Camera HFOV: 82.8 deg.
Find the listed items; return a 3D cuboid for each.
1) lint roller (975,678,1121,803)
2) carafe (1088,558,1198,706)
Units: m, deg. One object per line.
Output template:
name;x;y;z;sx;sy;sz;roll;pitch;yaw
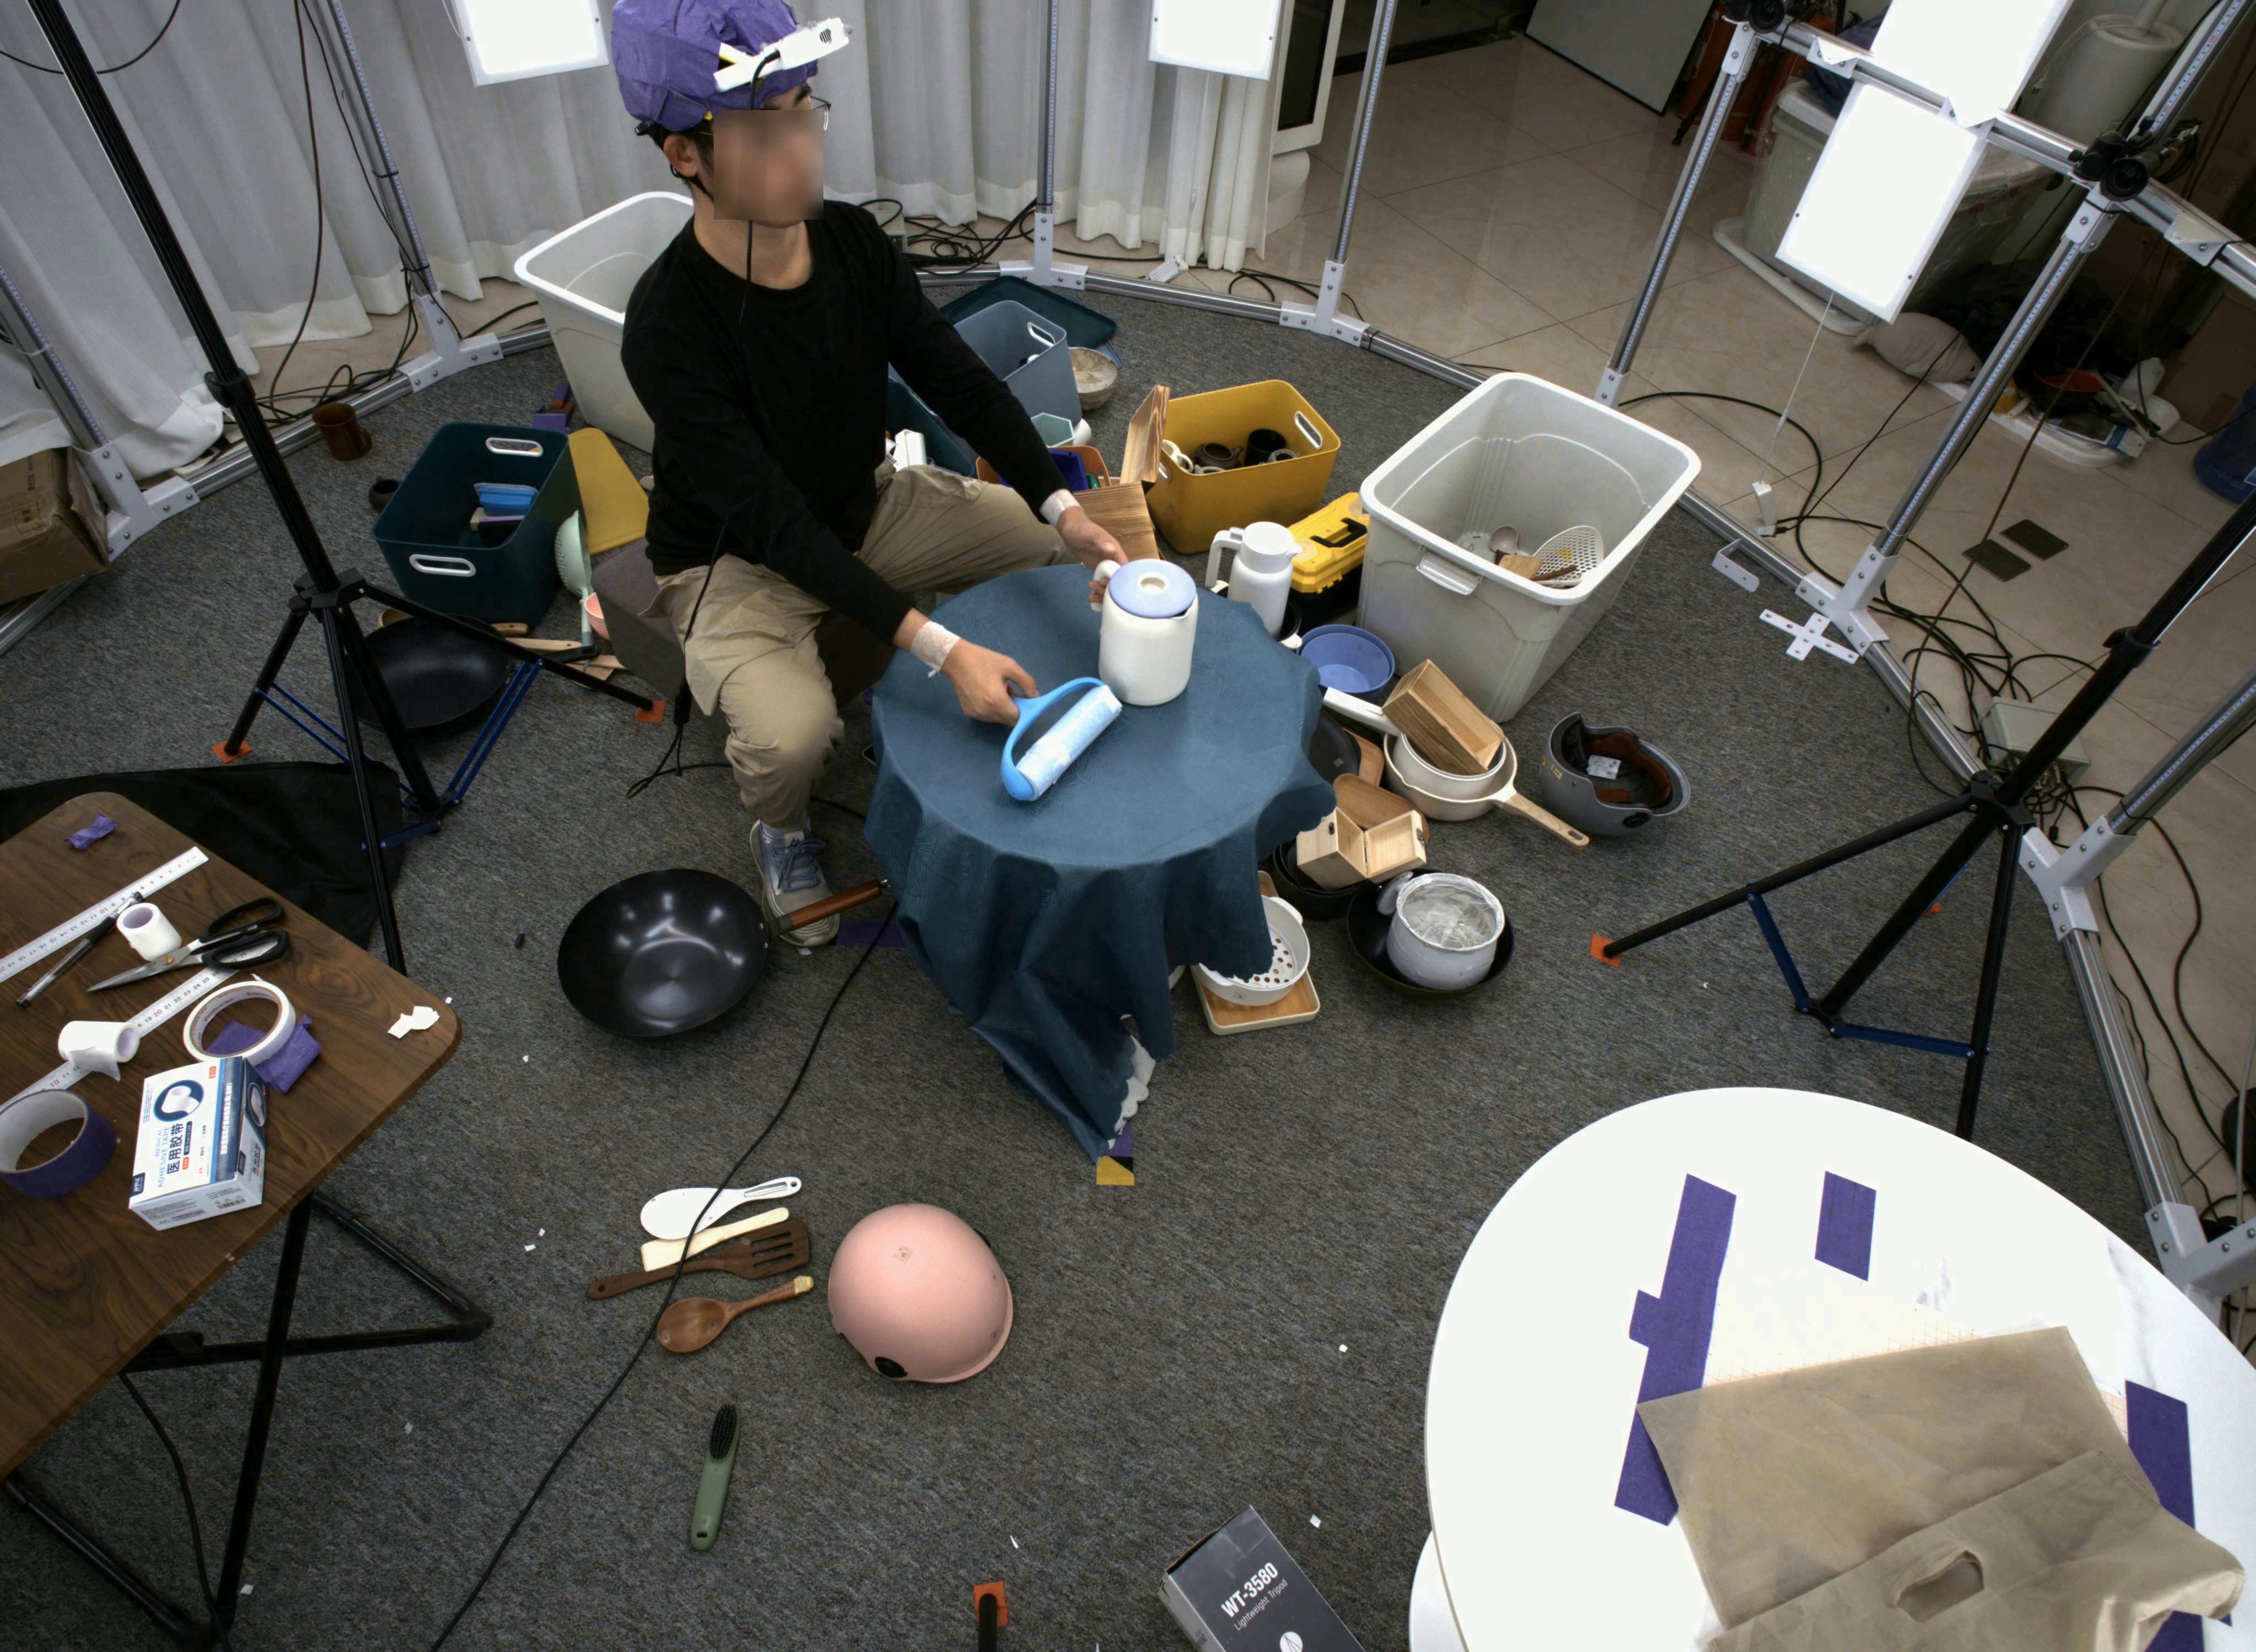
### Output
lint roller;-0.135;-0.142;1.745;0.181;0.066;0.232;31;57;13
carafe;0.012;-0.285;1.807;0.133;0.178;0.194;-32;56;-28
